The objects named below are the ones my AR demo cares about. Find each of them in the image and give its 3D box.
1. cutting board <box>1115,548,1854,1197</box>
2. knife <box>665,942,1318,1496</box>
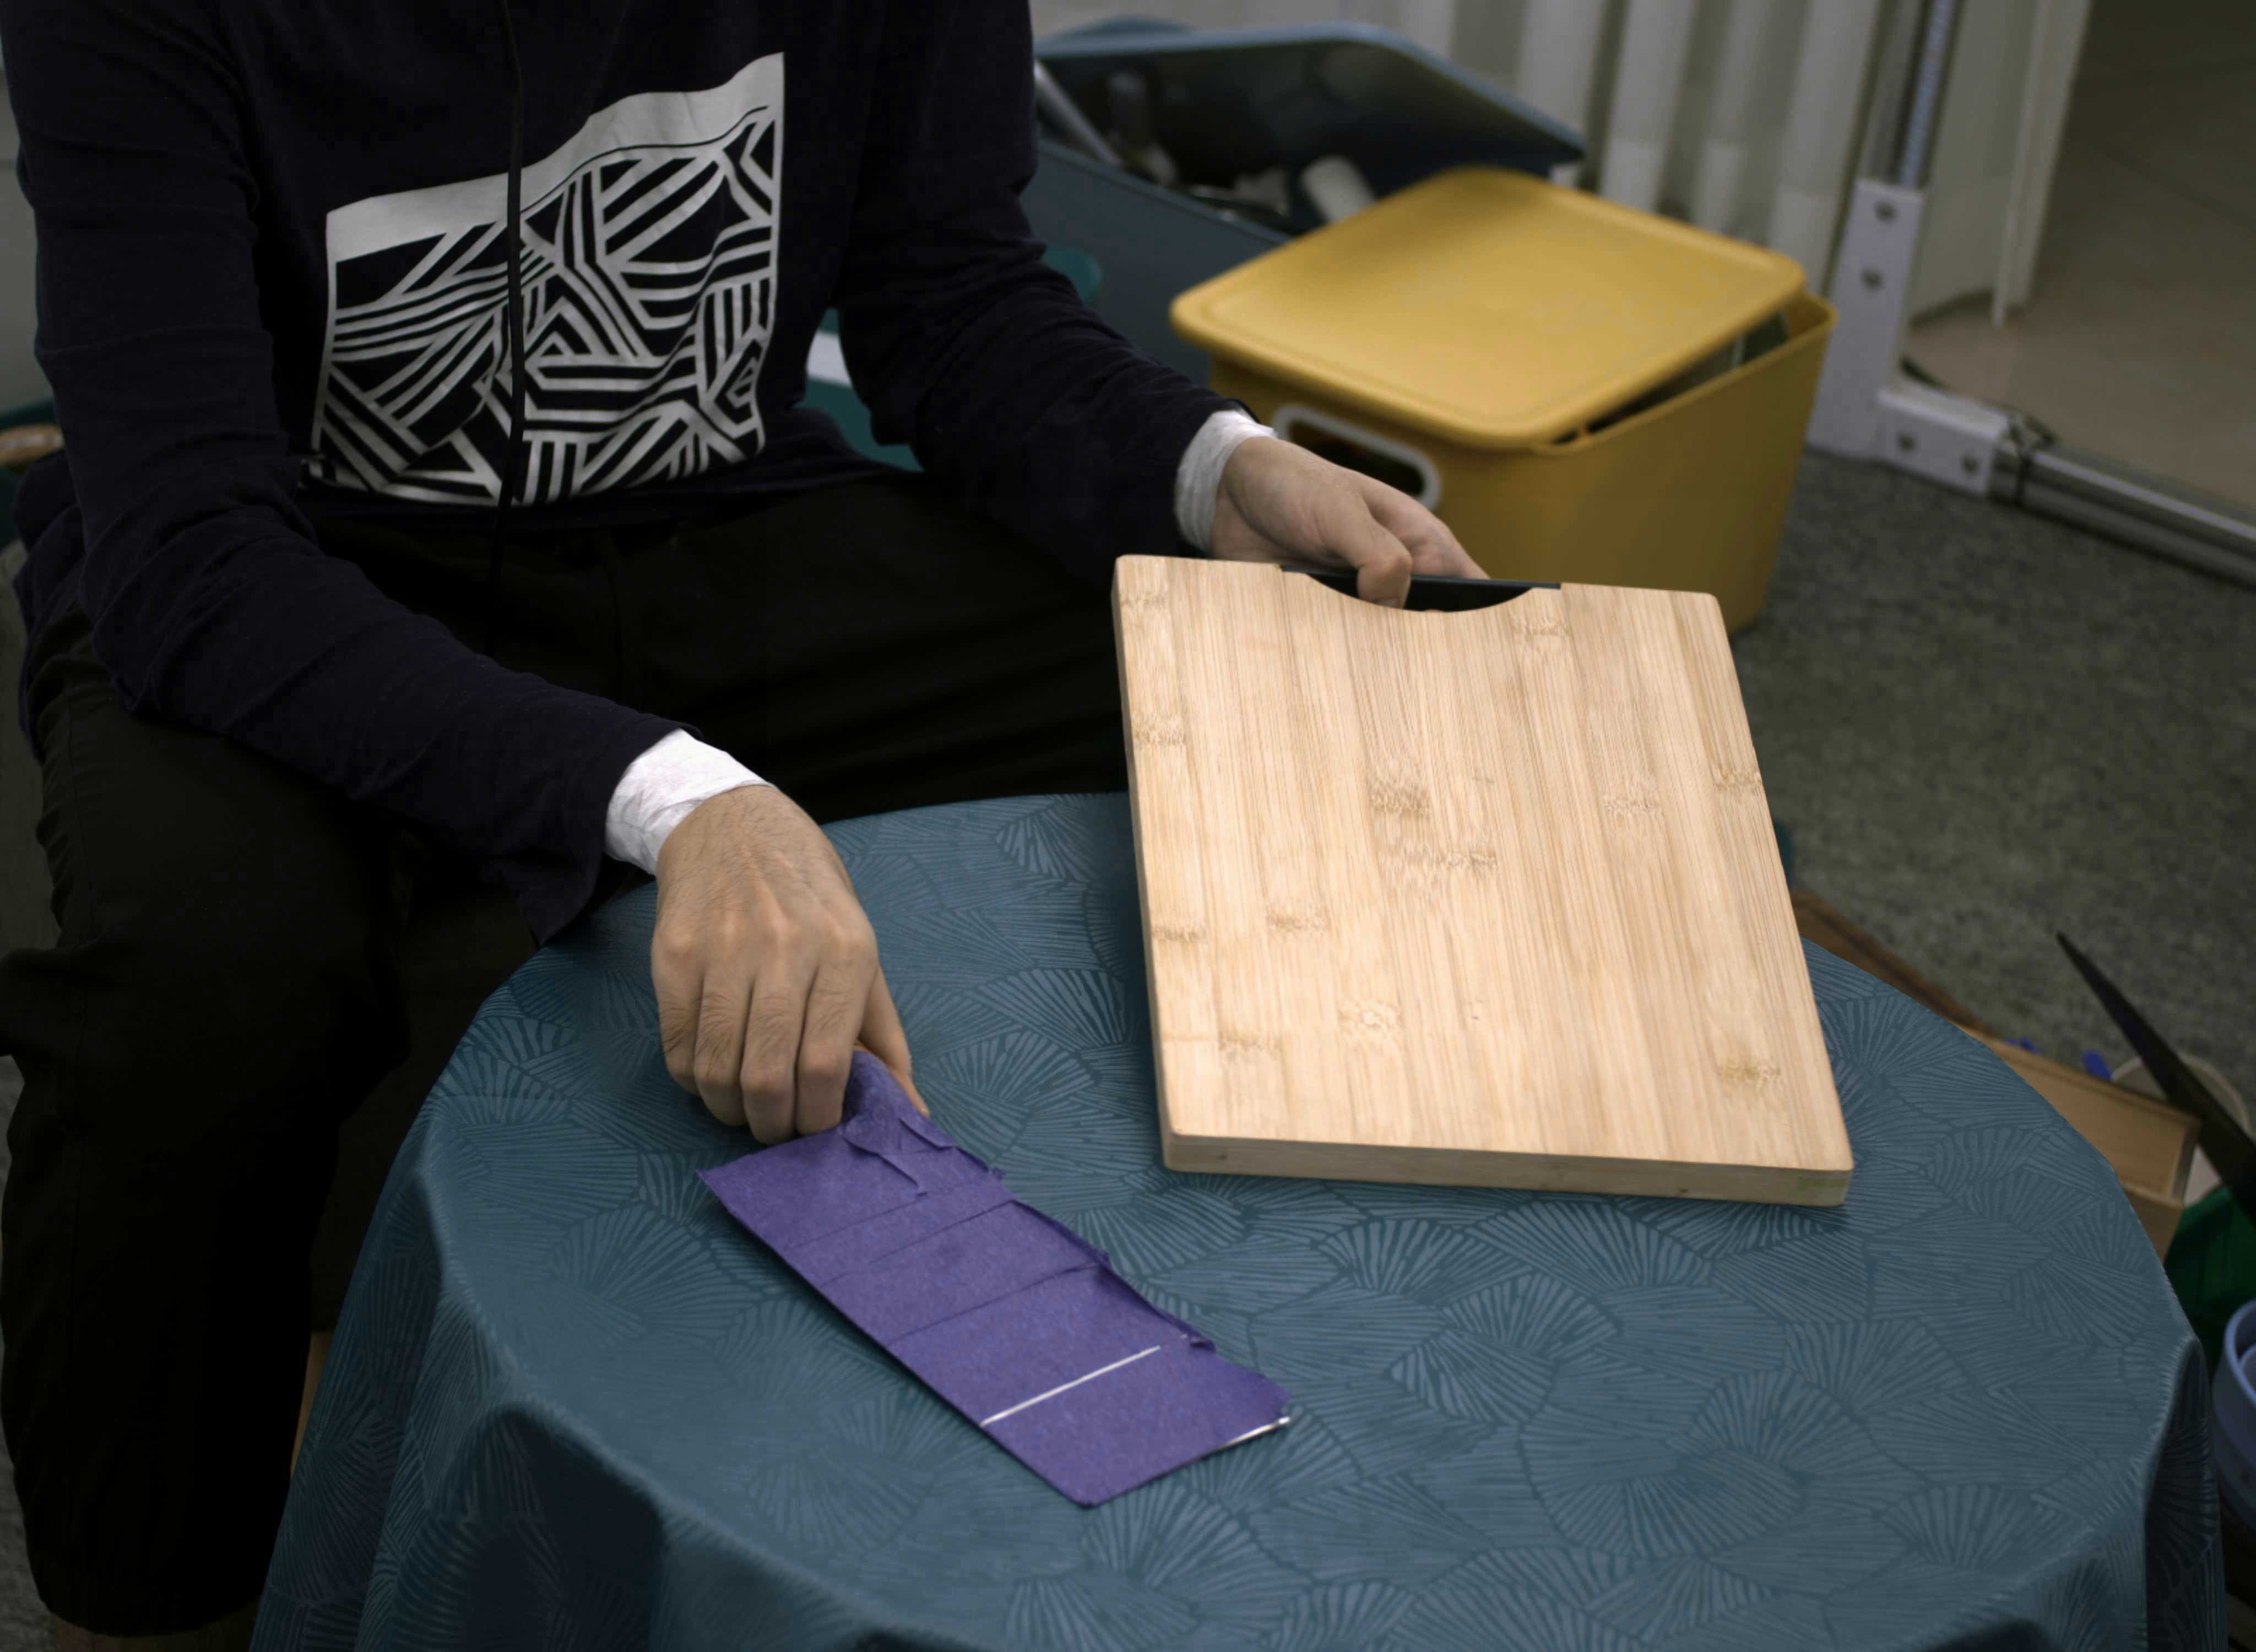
[{"bbox_3d":[0.123,0.011,1.966,0.249,0.023,0.351,3,38,-7],"label":"cutting board"},{"bbox_3d":[-0.075,0.125,1.755,0.103,0.032,0.318,-17,35,-37],"label":"knife"}]
